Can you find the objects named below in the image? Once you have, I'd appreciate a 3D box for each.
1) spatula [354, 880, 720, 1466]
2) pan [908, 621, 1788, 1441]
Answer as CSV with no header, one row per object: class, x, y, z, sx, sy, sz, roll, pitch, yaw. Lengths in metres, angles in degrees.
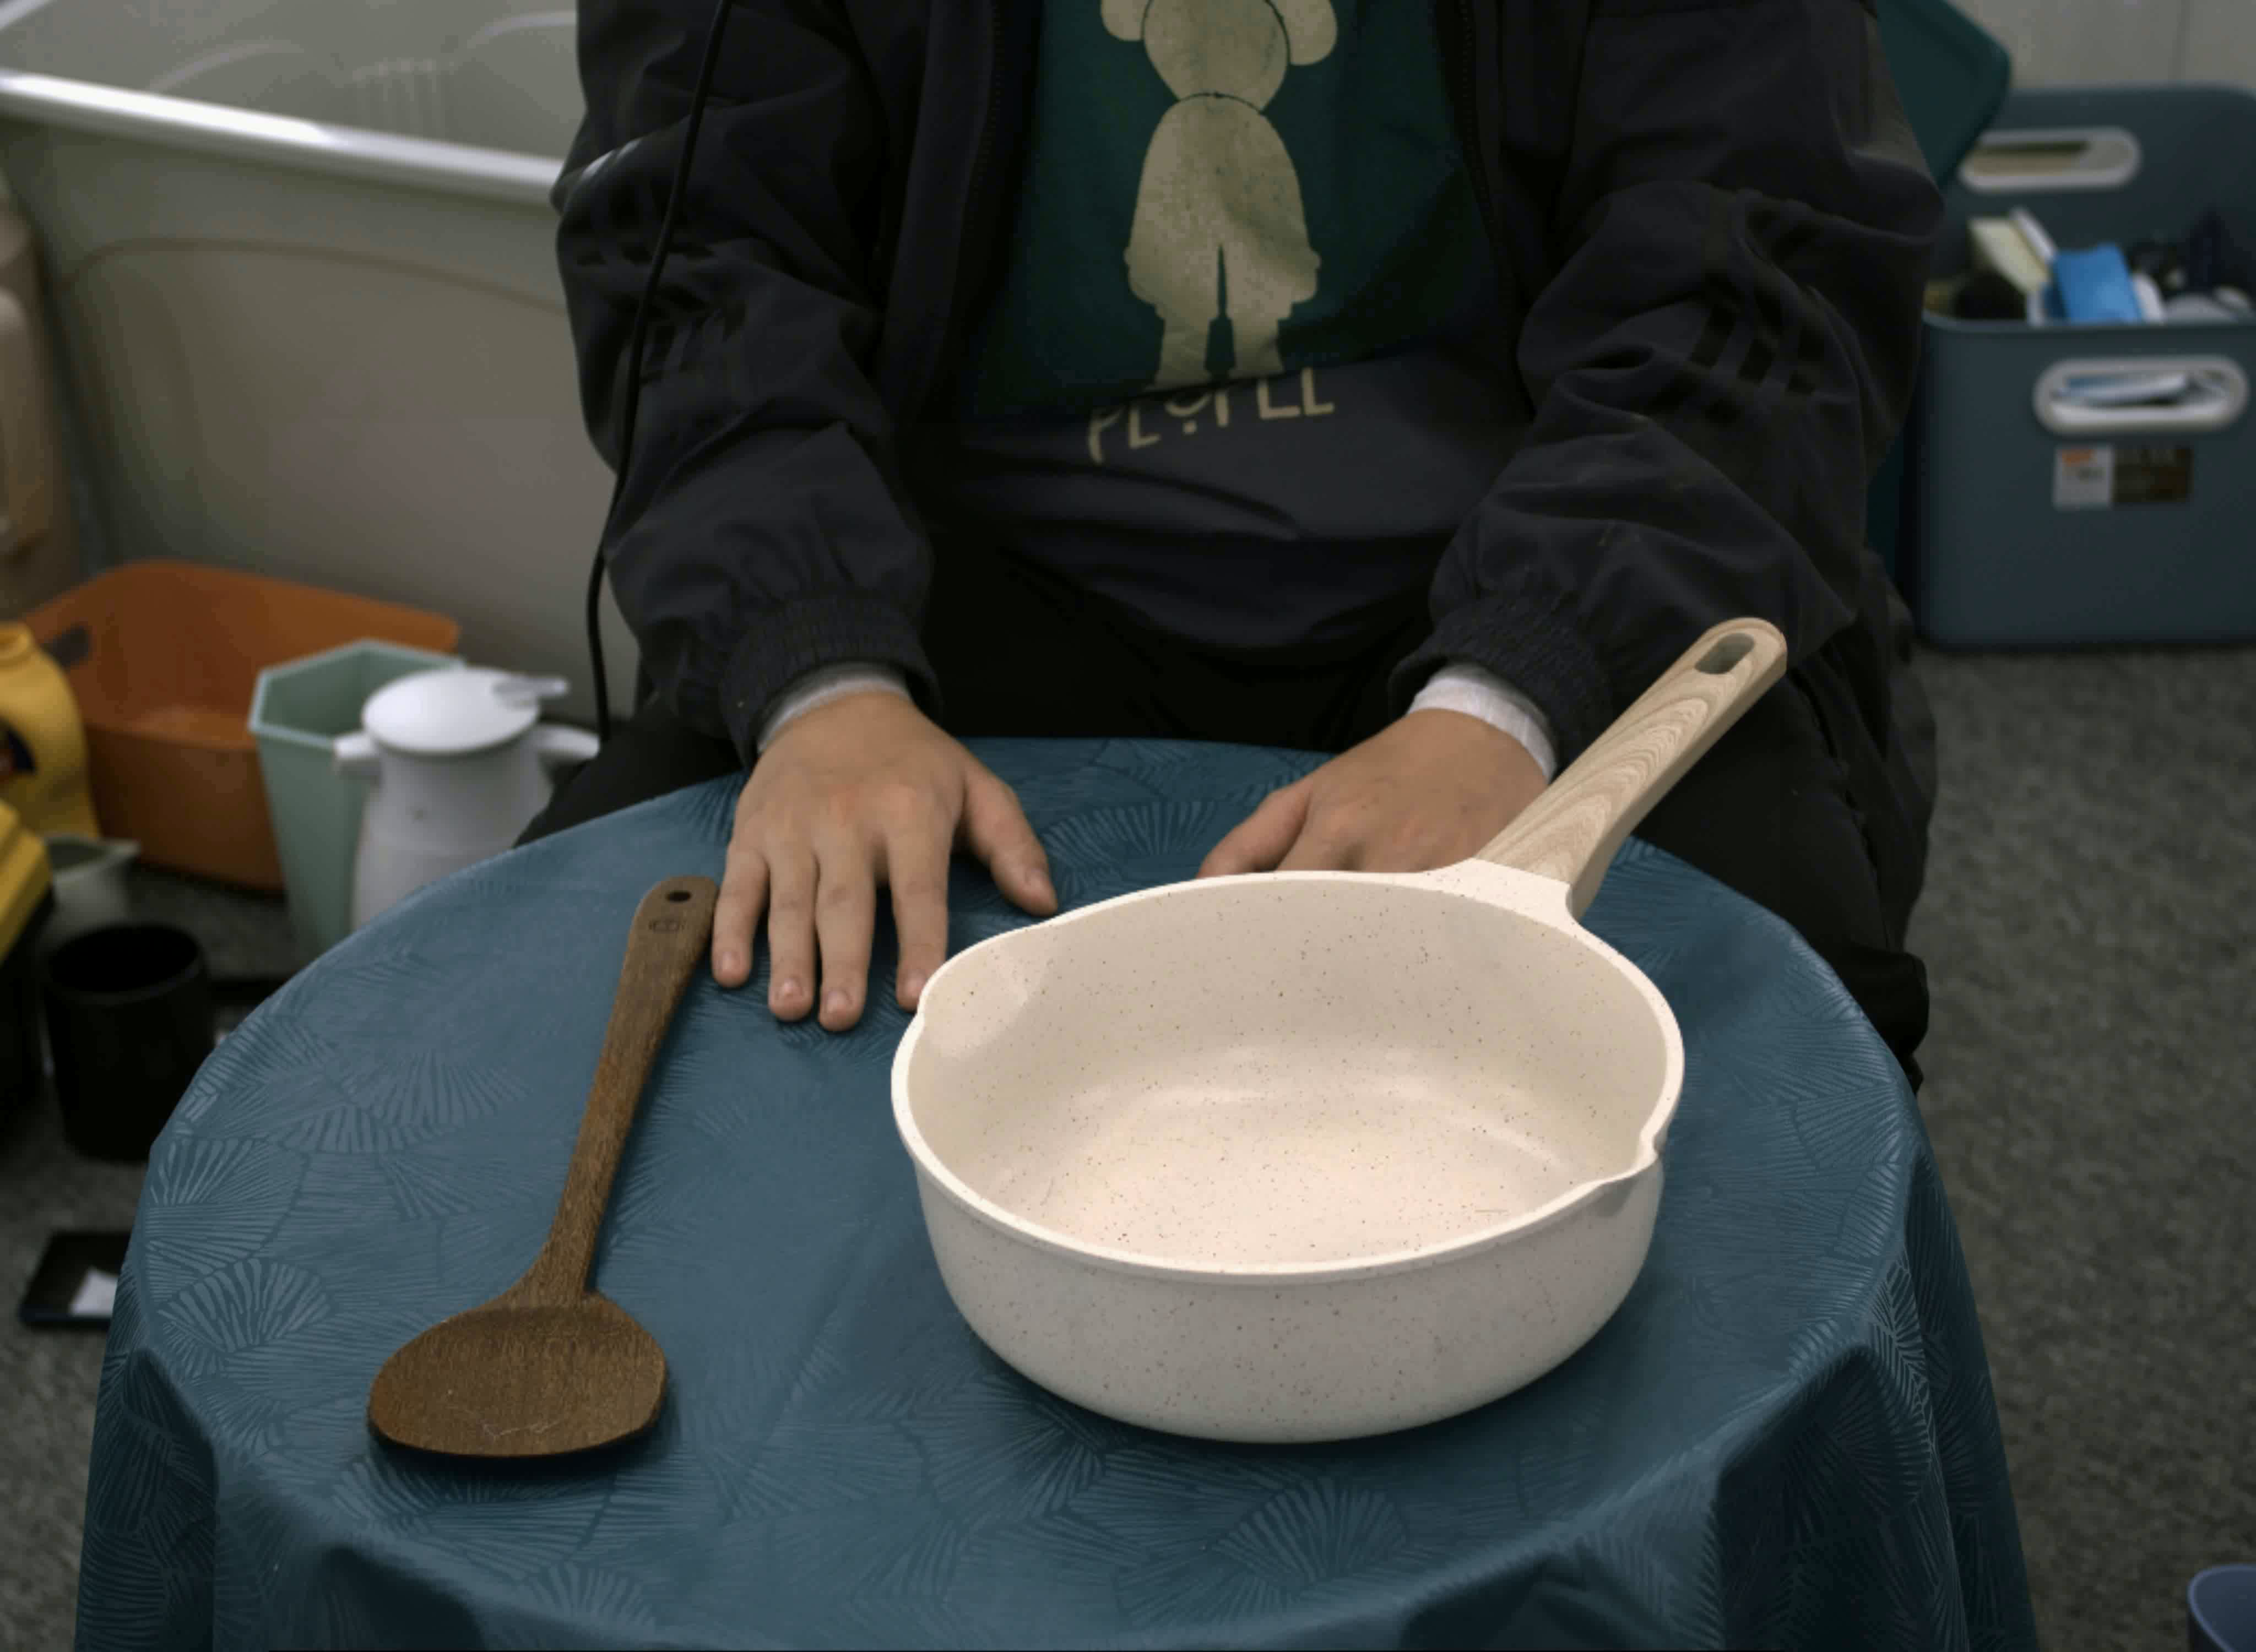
spatula,-0.178,0.108,1.887,0.095,0.015,0.392,0,27,5
pan,0.109,0.063,1.851,0.262,0.101,0.441,13,32,32
